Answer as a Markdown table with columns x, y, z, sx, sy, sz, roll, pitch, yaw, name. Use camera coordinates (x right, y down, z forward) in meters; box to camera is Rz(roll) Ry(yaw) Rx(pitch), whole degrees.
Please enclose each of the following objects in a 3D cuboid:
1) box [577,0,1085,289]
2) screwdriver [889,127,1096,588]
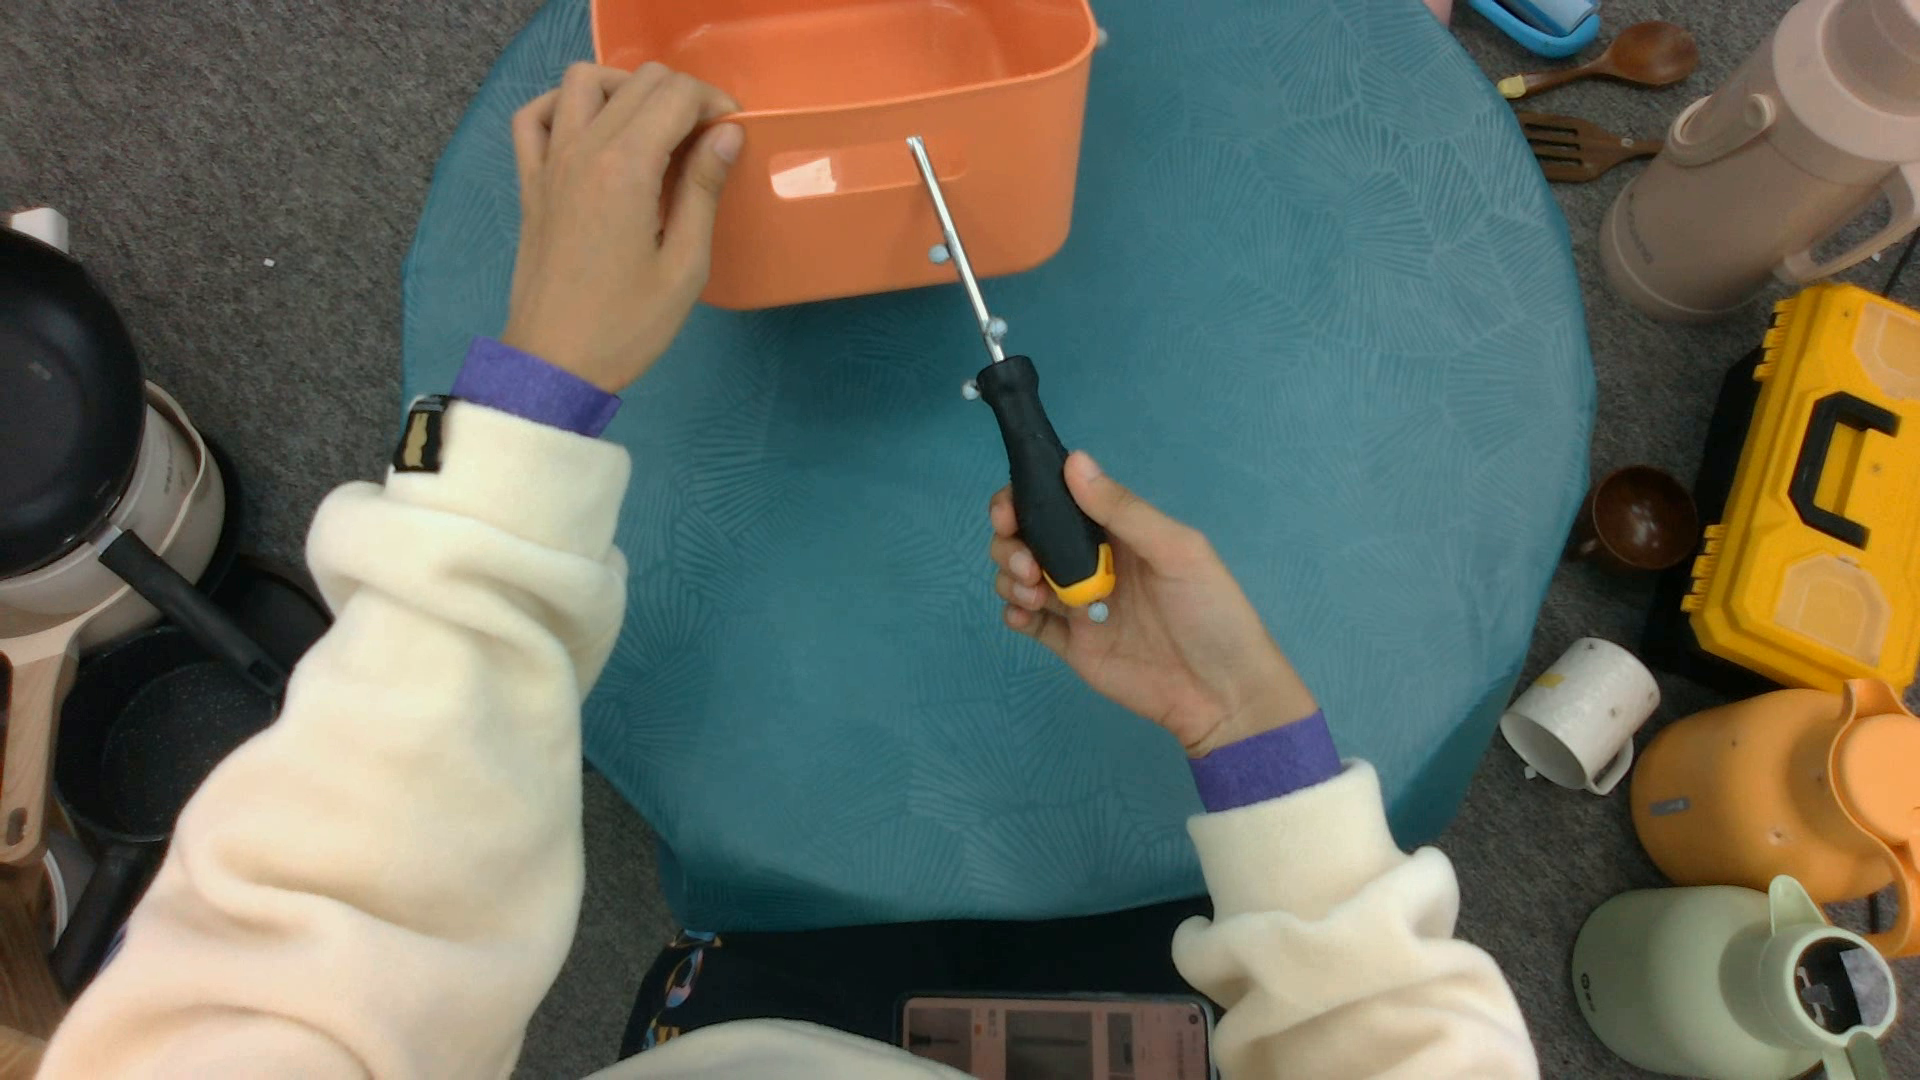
| x | y | z | sx | sy | sz | roll | pitch | yaw | name |
| --- | --- | --- | --- | --- | --- | --- | --- | --- | --- |
| -0.064 | -0.231 | 0.626 | 0.199 | 0.102 | 0.274 | -9 | 48 | -7 | box |
| 0.005 | -0.073 | 0.526 | 0.031 | 0.031 | 0.196 | -23 | 84 | -9 | screwdriver |
